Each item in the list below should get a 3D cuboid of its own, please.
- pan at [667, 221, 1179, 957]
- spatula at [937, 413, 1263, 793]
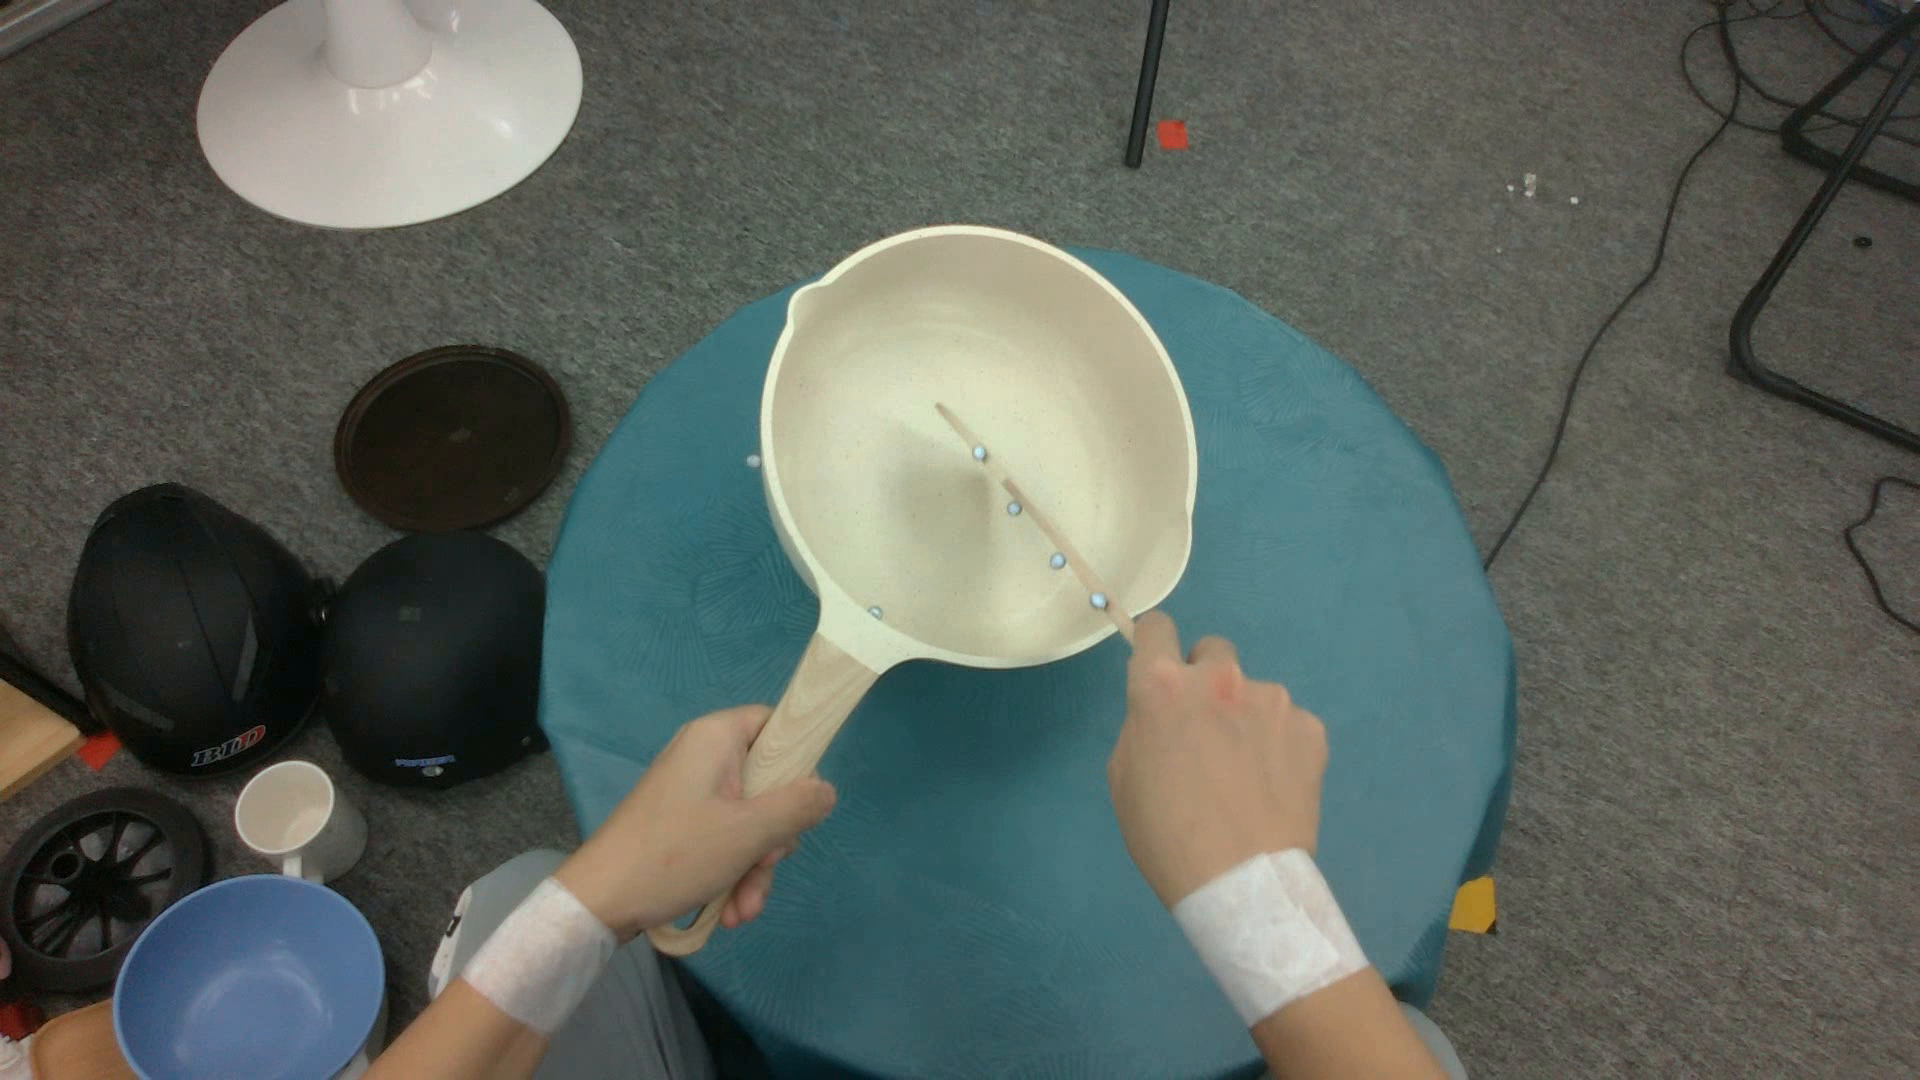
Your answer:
[{"bbox_3d":[-0.044,0.022,0.759,0.263,0.101,0.436,33,69,-9],"label":"pan"},{"bbox_3d":[0.067,0.023,0.705,0.010,0.072,0.293,-43,45,6],"label":"spatula"}]
